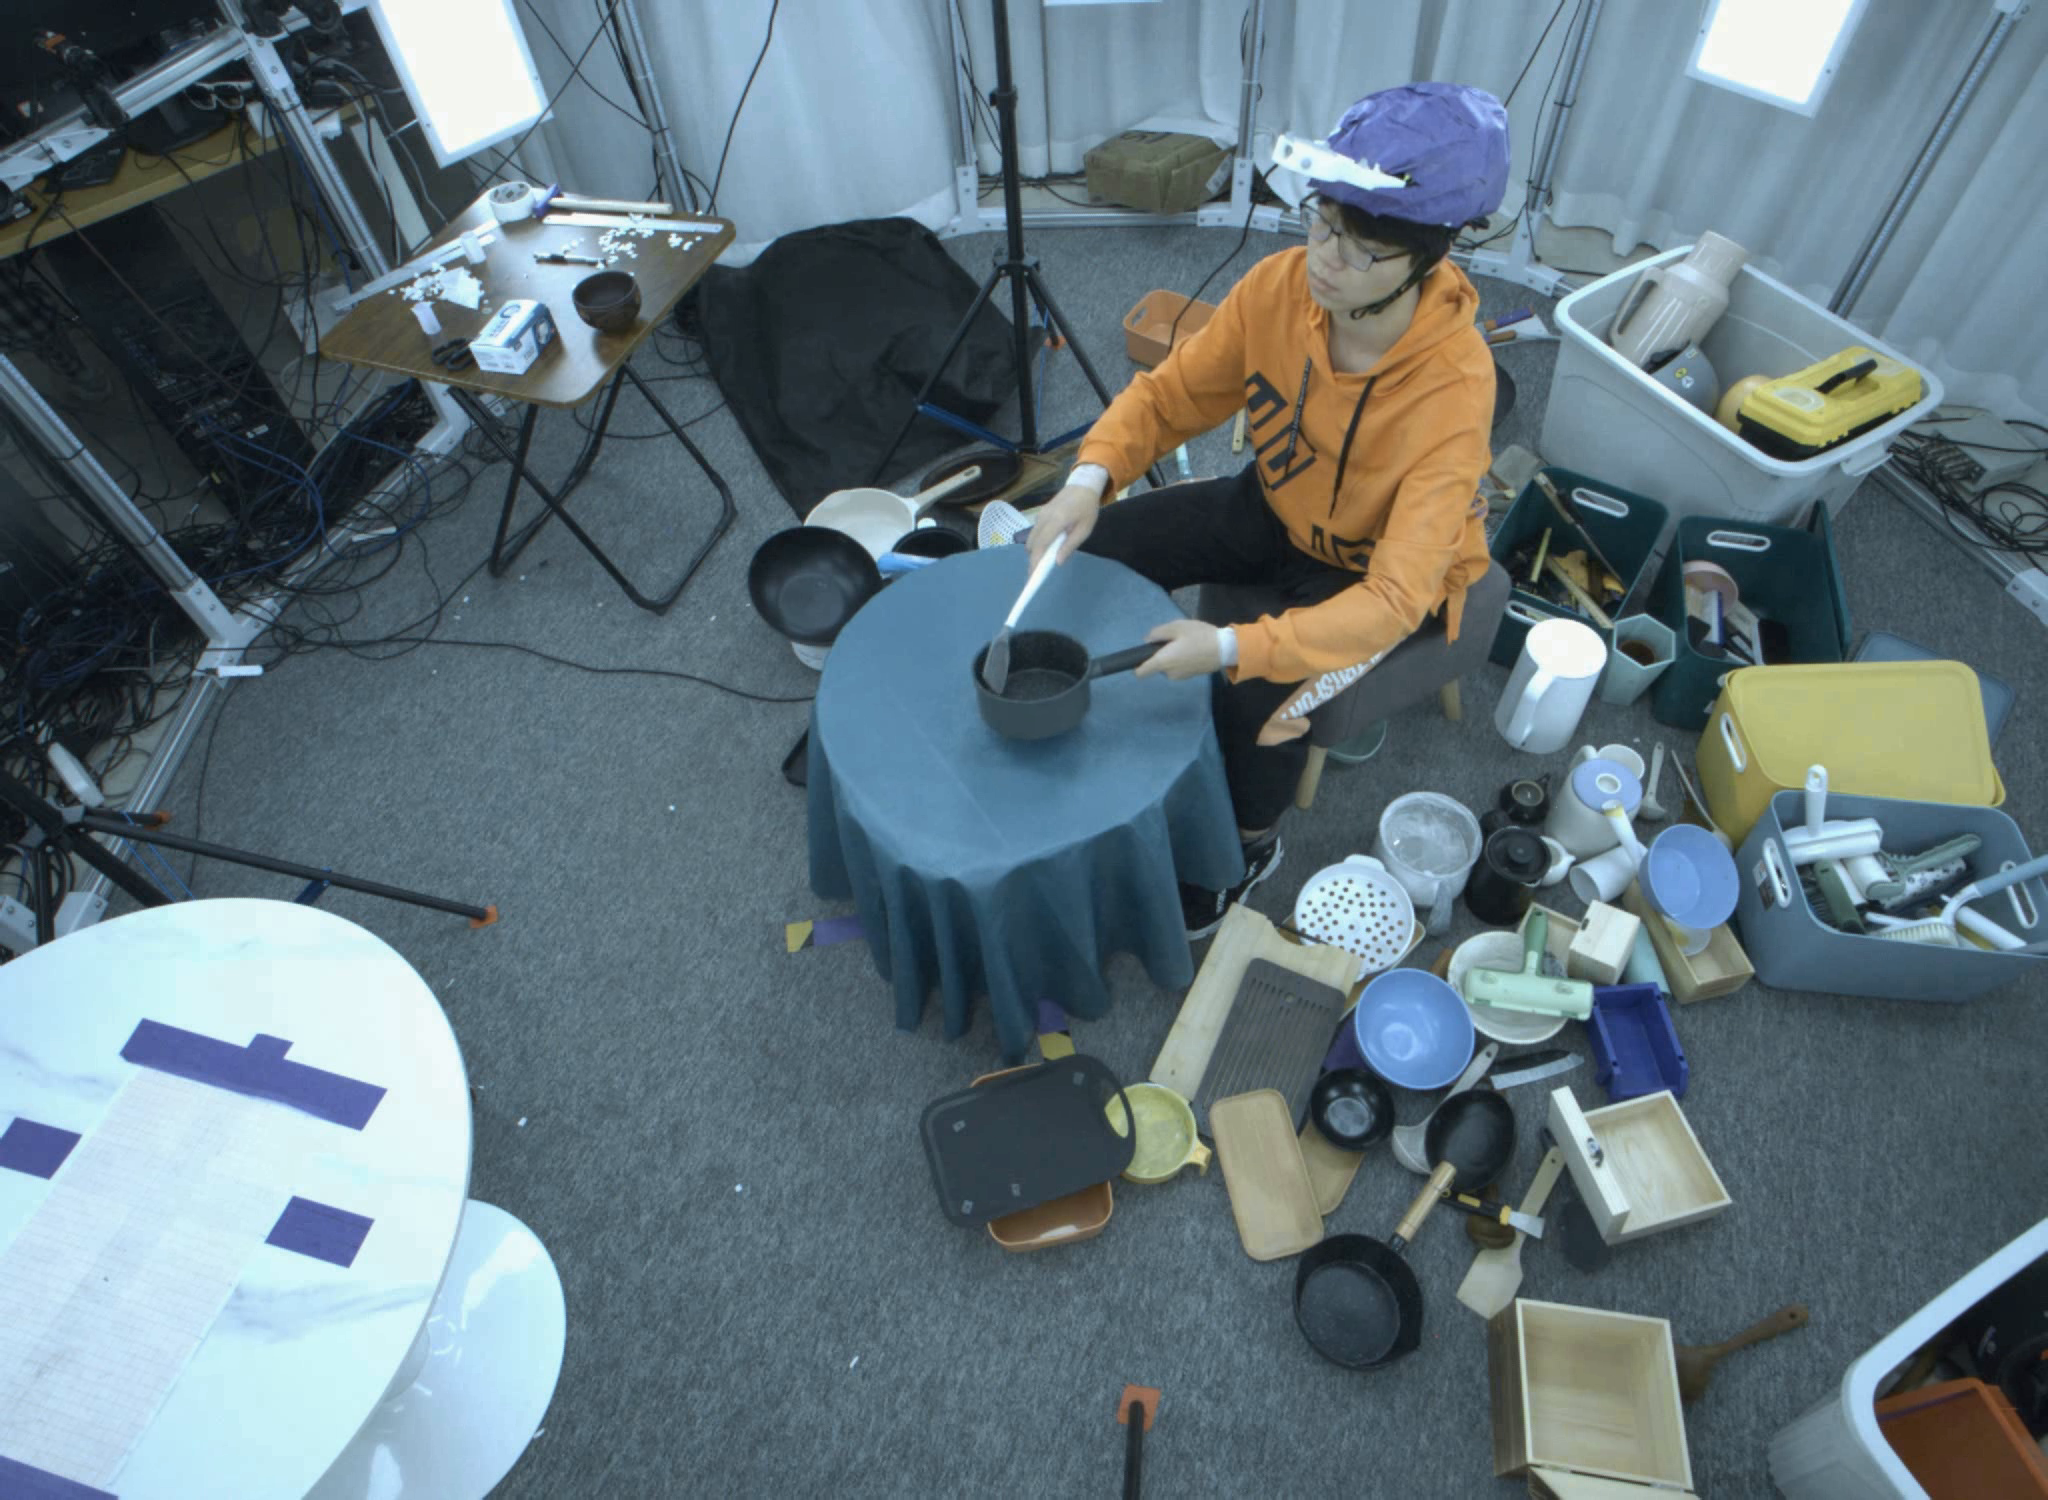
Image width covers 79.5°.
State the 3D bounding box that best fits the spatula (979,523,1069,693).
[{"bbox_3d":[-0.002,-0.206,1.769,0.031,0.060,0.287,8,63,35],"label":"spatula"}]

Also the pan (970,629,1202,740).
[{"bbox_3d":[0.091,-0.105,1.761,0.329,0.087,0.169,-7,43,-1],"label":"pan"}]
